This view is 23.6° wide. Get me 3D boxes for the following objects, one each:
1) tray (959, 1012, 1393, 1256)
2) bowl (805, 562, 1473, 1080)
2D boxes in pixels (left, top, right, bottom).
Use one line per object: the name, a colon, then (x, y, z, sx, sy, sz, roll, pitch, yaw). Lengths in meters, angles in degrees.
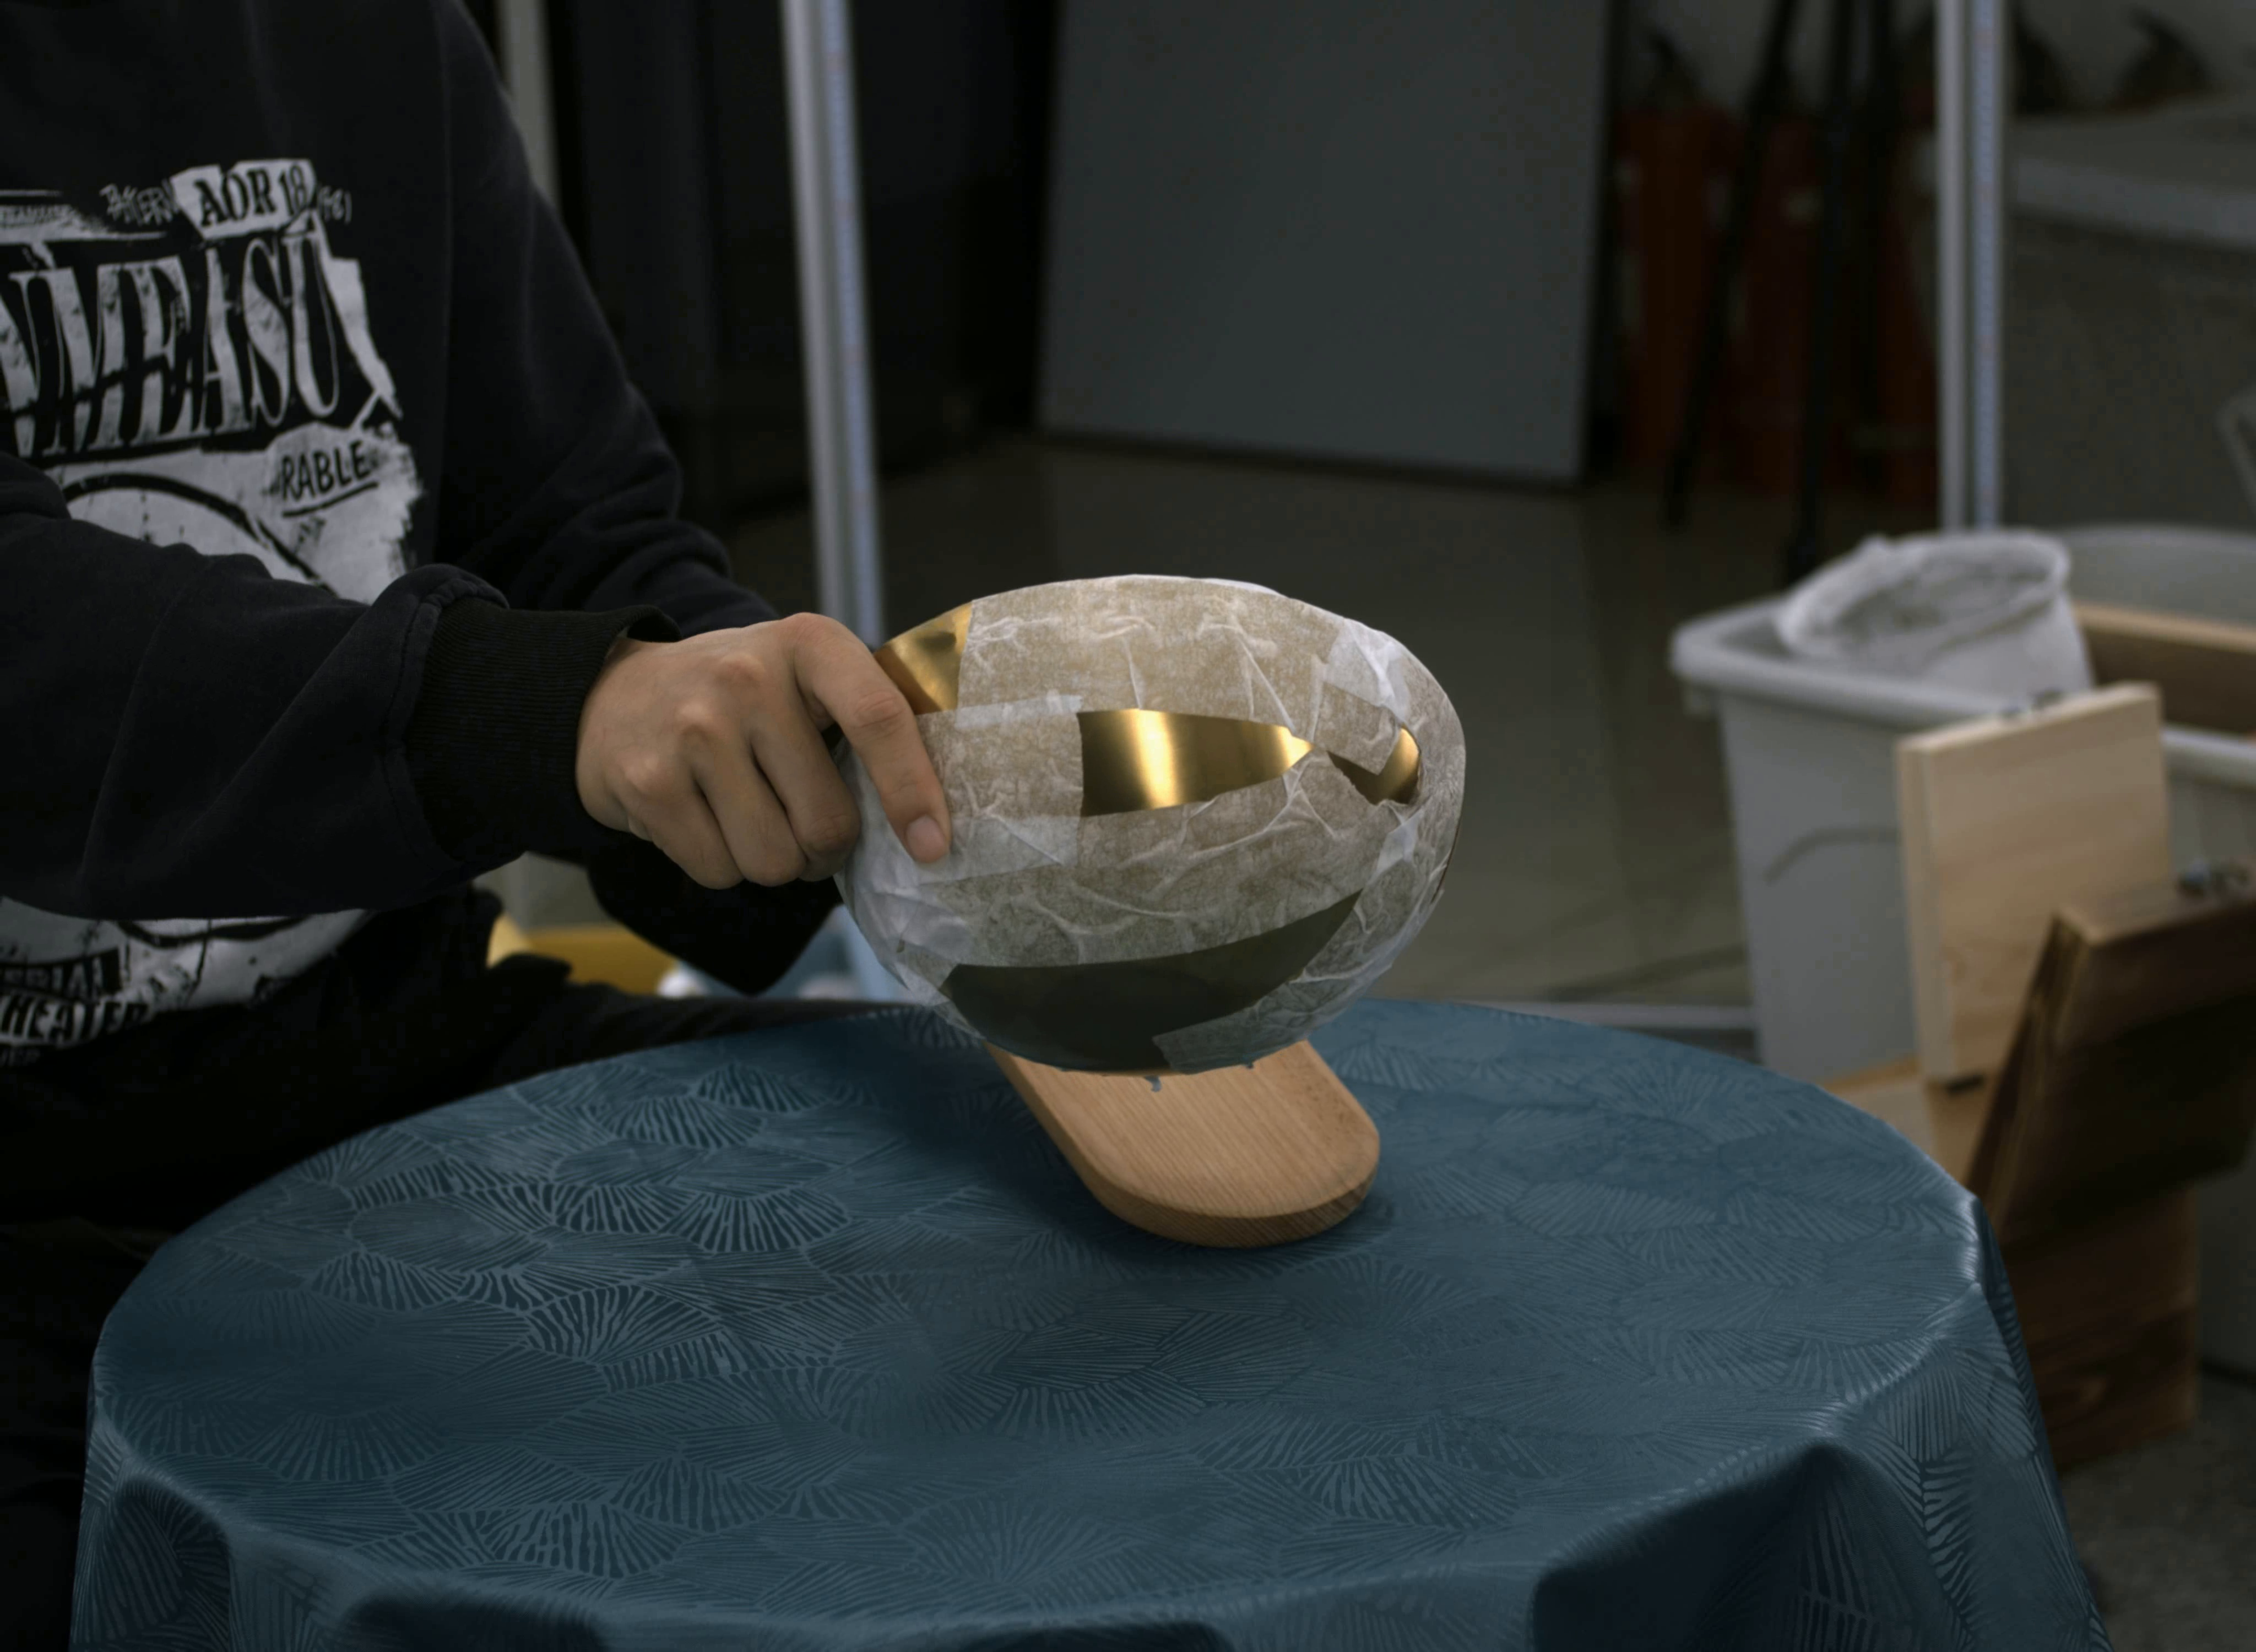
tray: (0.009, 0.077, 1.793, 0.099, 0.020, 0.234, -10, 32, -21)
bowl: (0.004, 0.018, 1.614, 0.212, 0.214, 0.095, -2, 58, 4)
